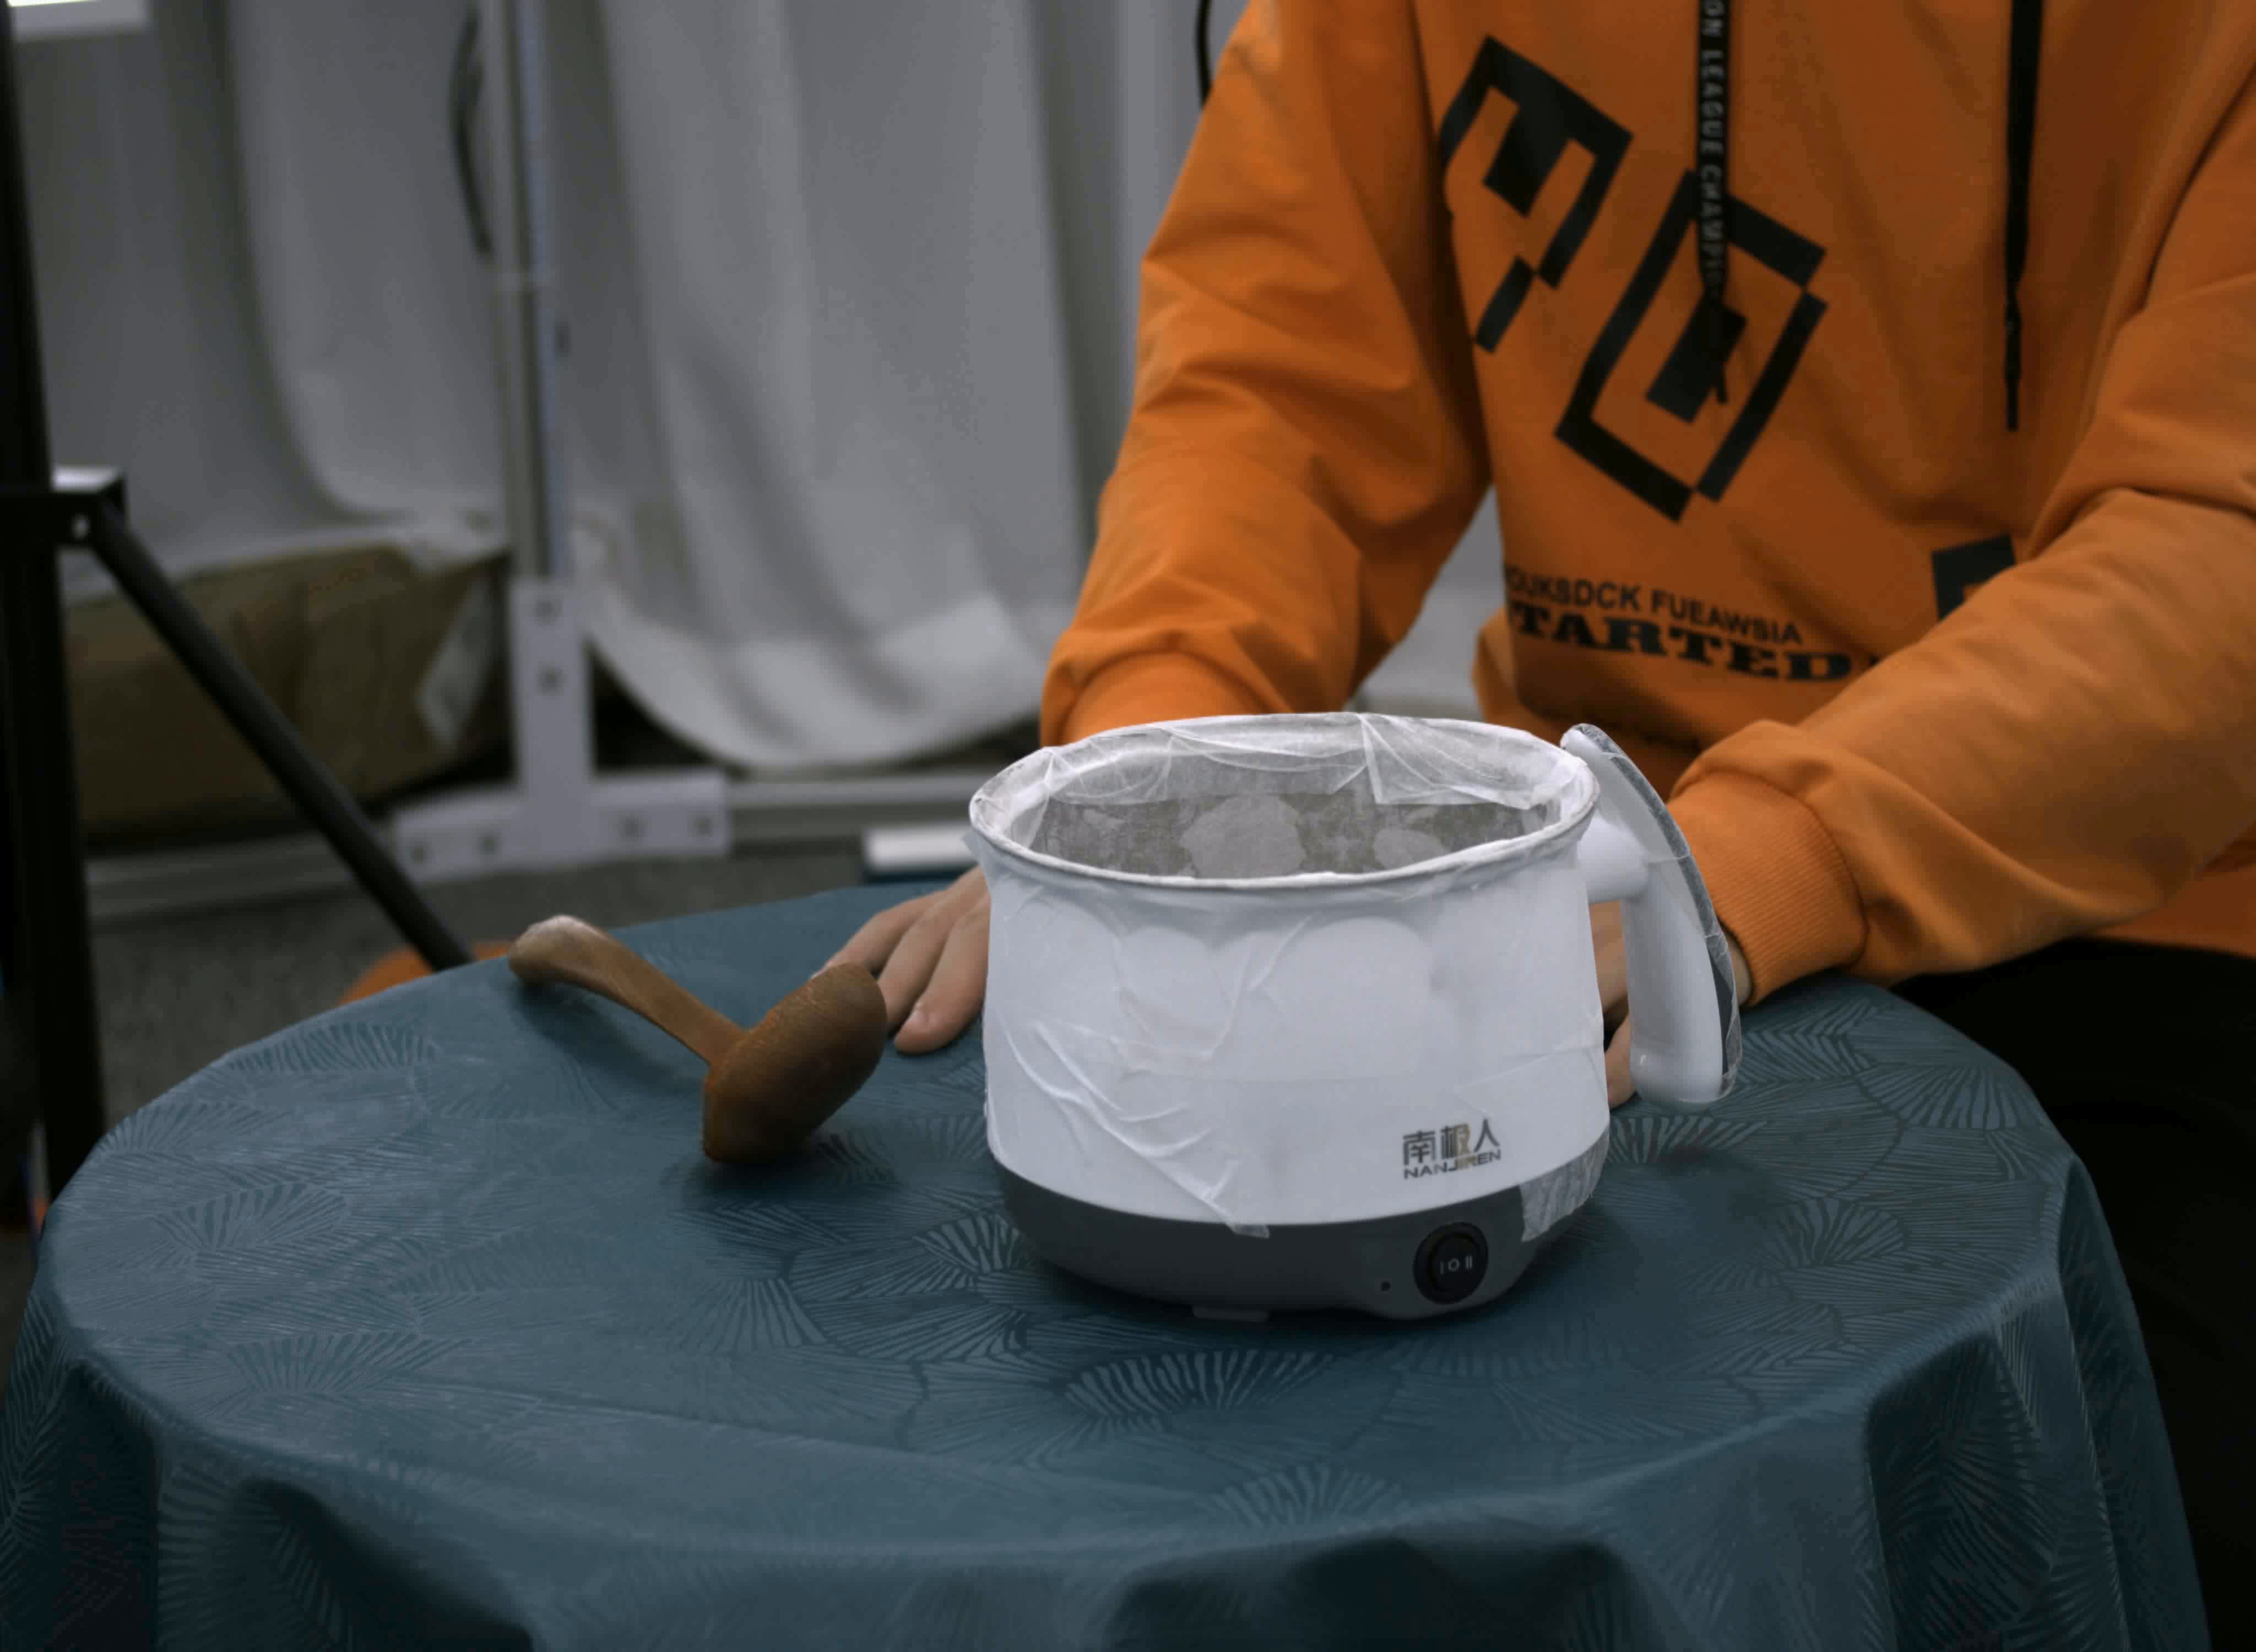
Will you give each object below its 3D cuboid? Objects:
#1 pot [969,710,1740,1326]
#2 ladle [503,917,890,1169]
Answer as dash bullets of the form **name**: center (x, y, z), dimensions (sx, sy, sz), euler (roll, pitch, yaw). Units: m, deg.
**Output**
- **pot**: center (0.070, 0.048, 1.509), dimensions (0.229, 0.136, 0.182), euler (-10, 18, -26)
- **ladle**: center (-0.149, 0.051, 1.675), dimensions (0.076, 0.064, 0.266), euler (-35, 27, -17)
